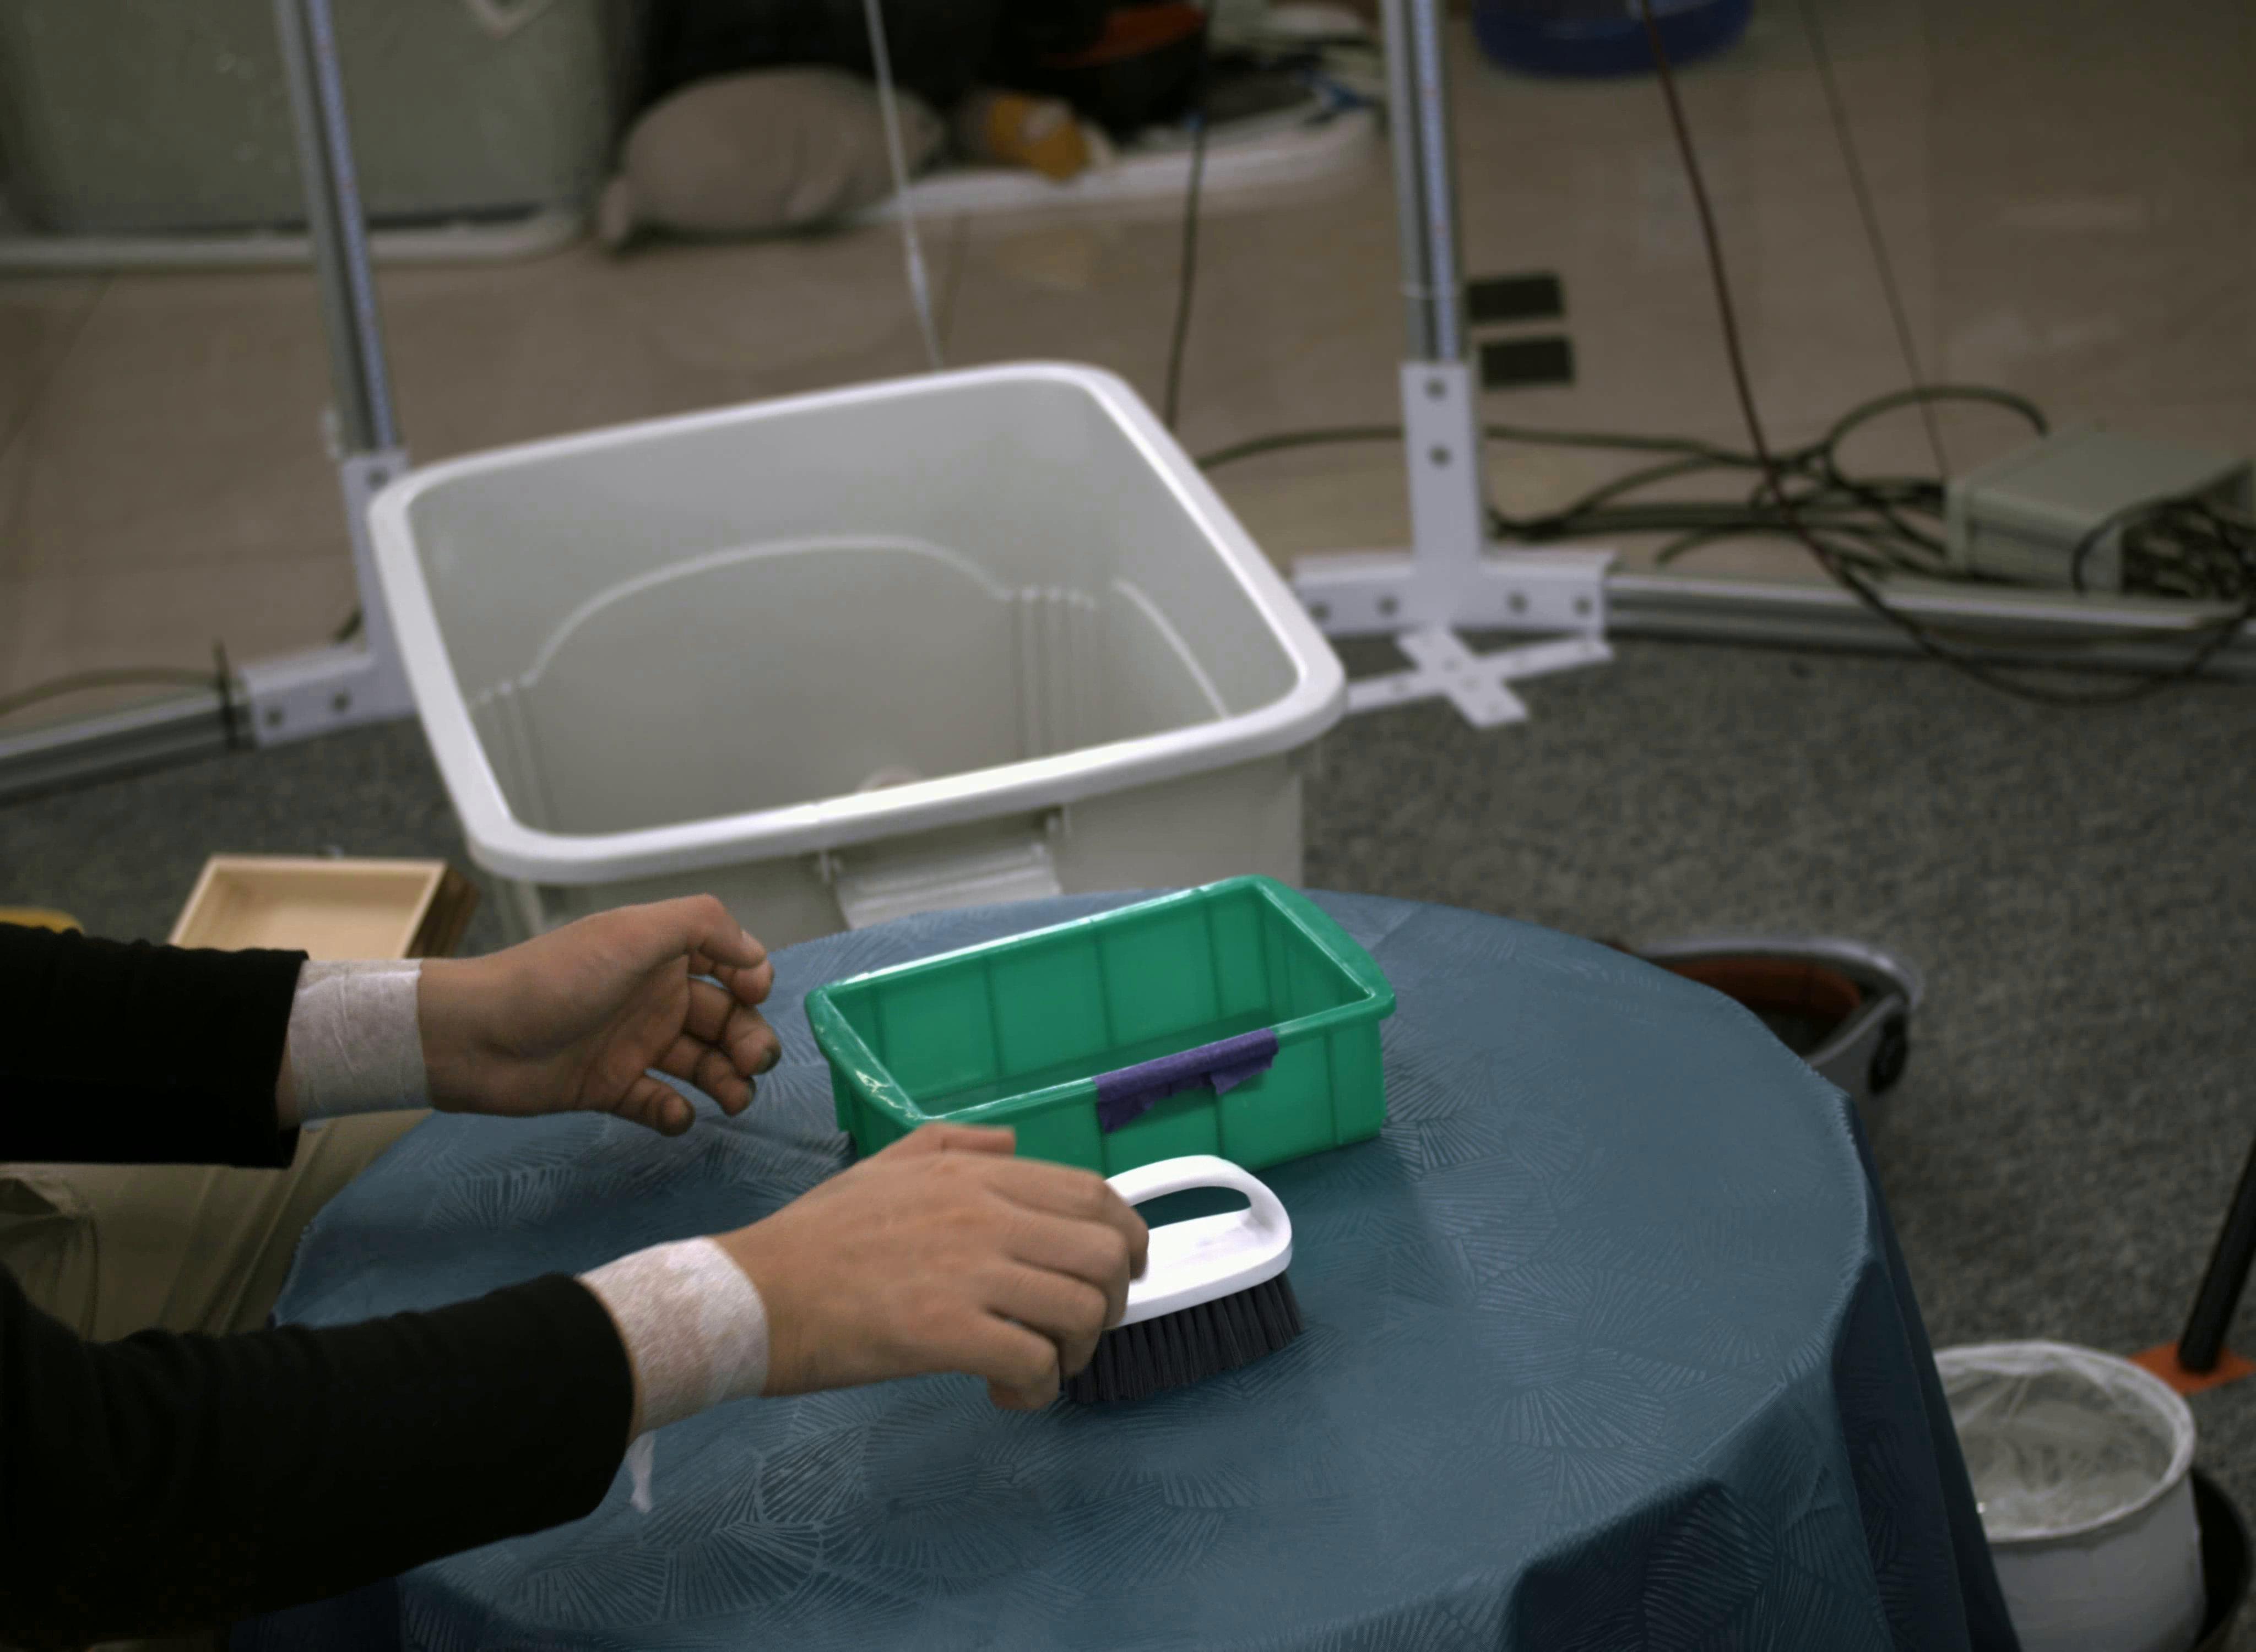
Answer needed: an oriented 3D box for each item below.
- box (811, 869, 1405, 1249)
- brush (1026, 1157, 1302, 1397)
[{"bbox_3d":[-0.006,0.090,2.180,0.209,0.066,0.137,-14,28,-18],"label":"box"},{"bbox_3d":[0.011,0.155,2.022,0.099,0.073,0.049,-14,27,-16],"label":"brush"}]
